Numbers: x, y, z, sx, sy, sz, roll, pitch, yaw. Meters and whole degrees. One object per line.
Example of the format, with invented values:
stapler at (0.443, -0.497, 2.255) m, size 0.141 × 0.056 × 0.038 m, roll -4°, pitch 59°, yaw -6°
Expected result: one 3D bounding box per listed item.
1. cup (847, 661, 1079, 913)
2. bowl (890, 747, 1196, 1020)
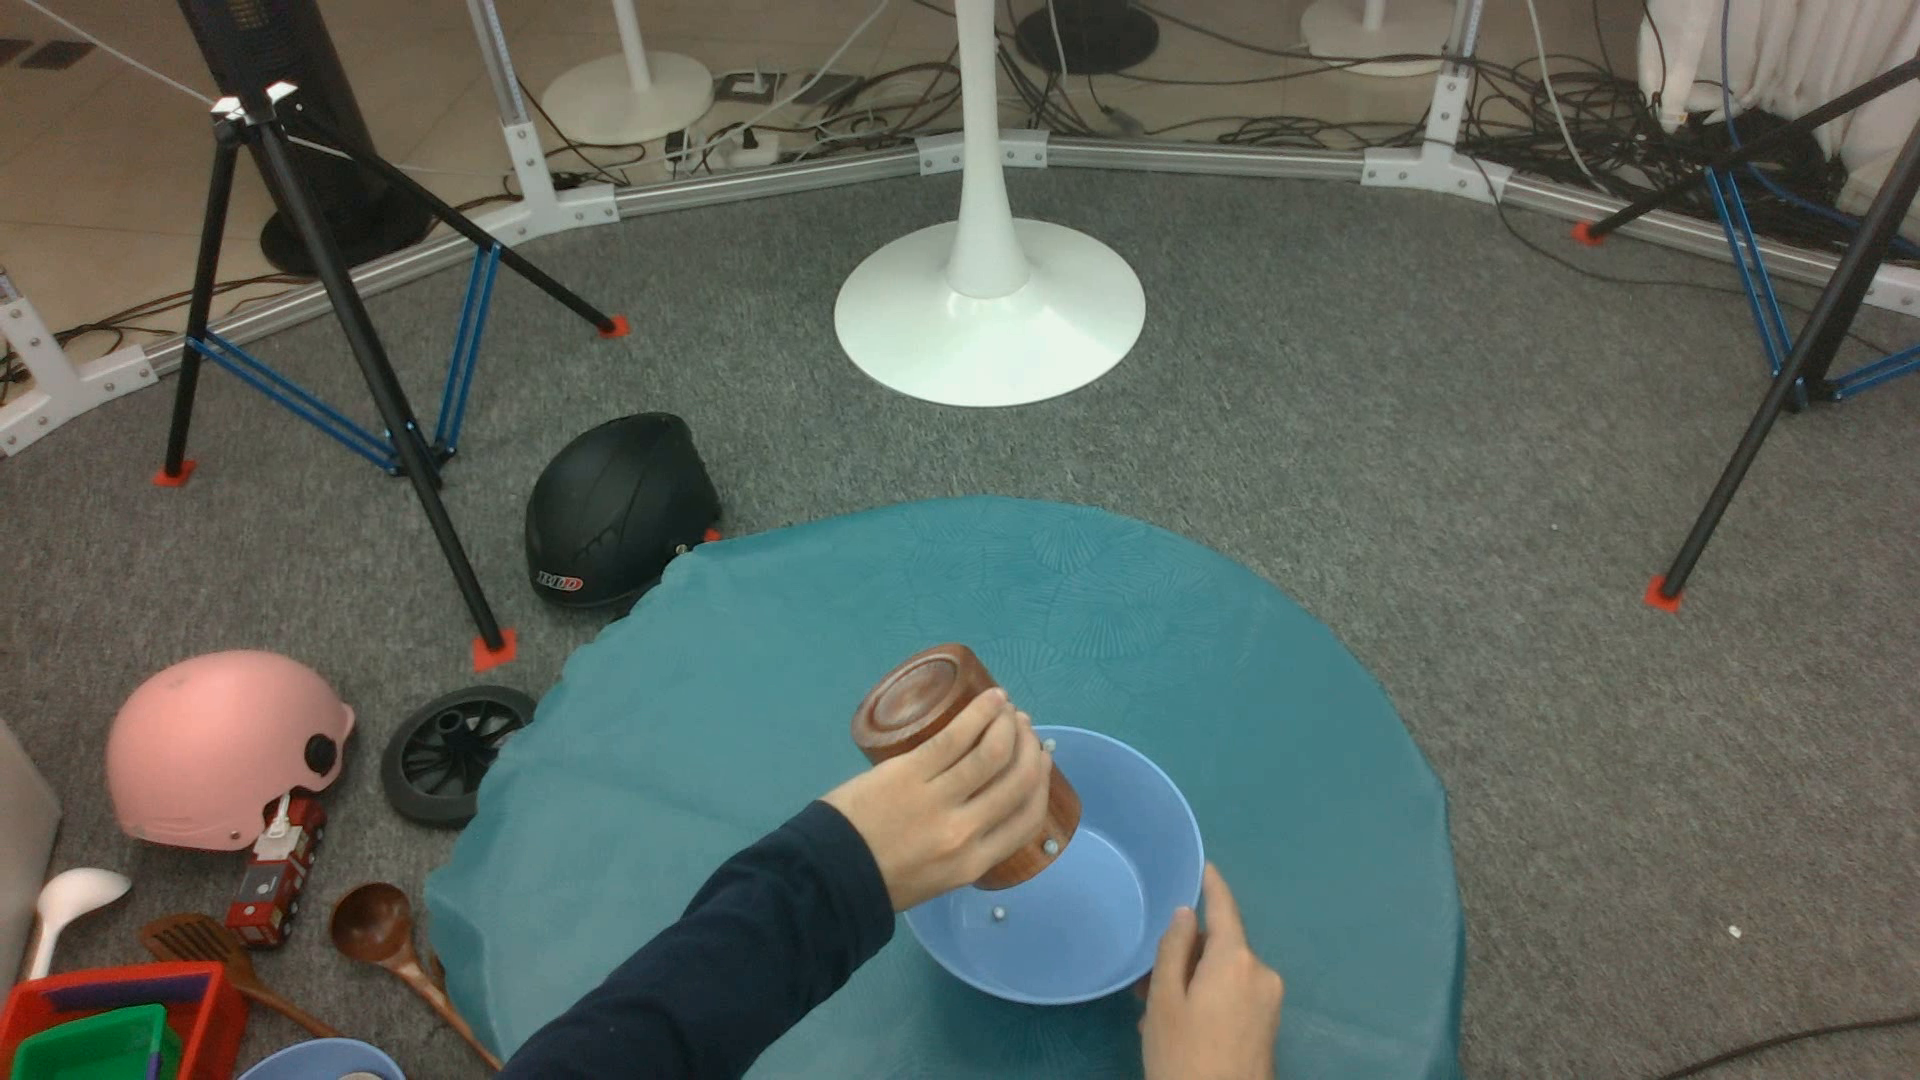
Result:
cup at (0.002, 0.136, 0.759) m, size 0.087 × 0.118 × 0.088 m, roll -29°, pitch 21°, yaw 13°
bowl at (0.049, 0.213, 0.813) m, size 0.176 × 0.070 × 0.177 m, roll -2°, pitch 45°, yaw 2°
